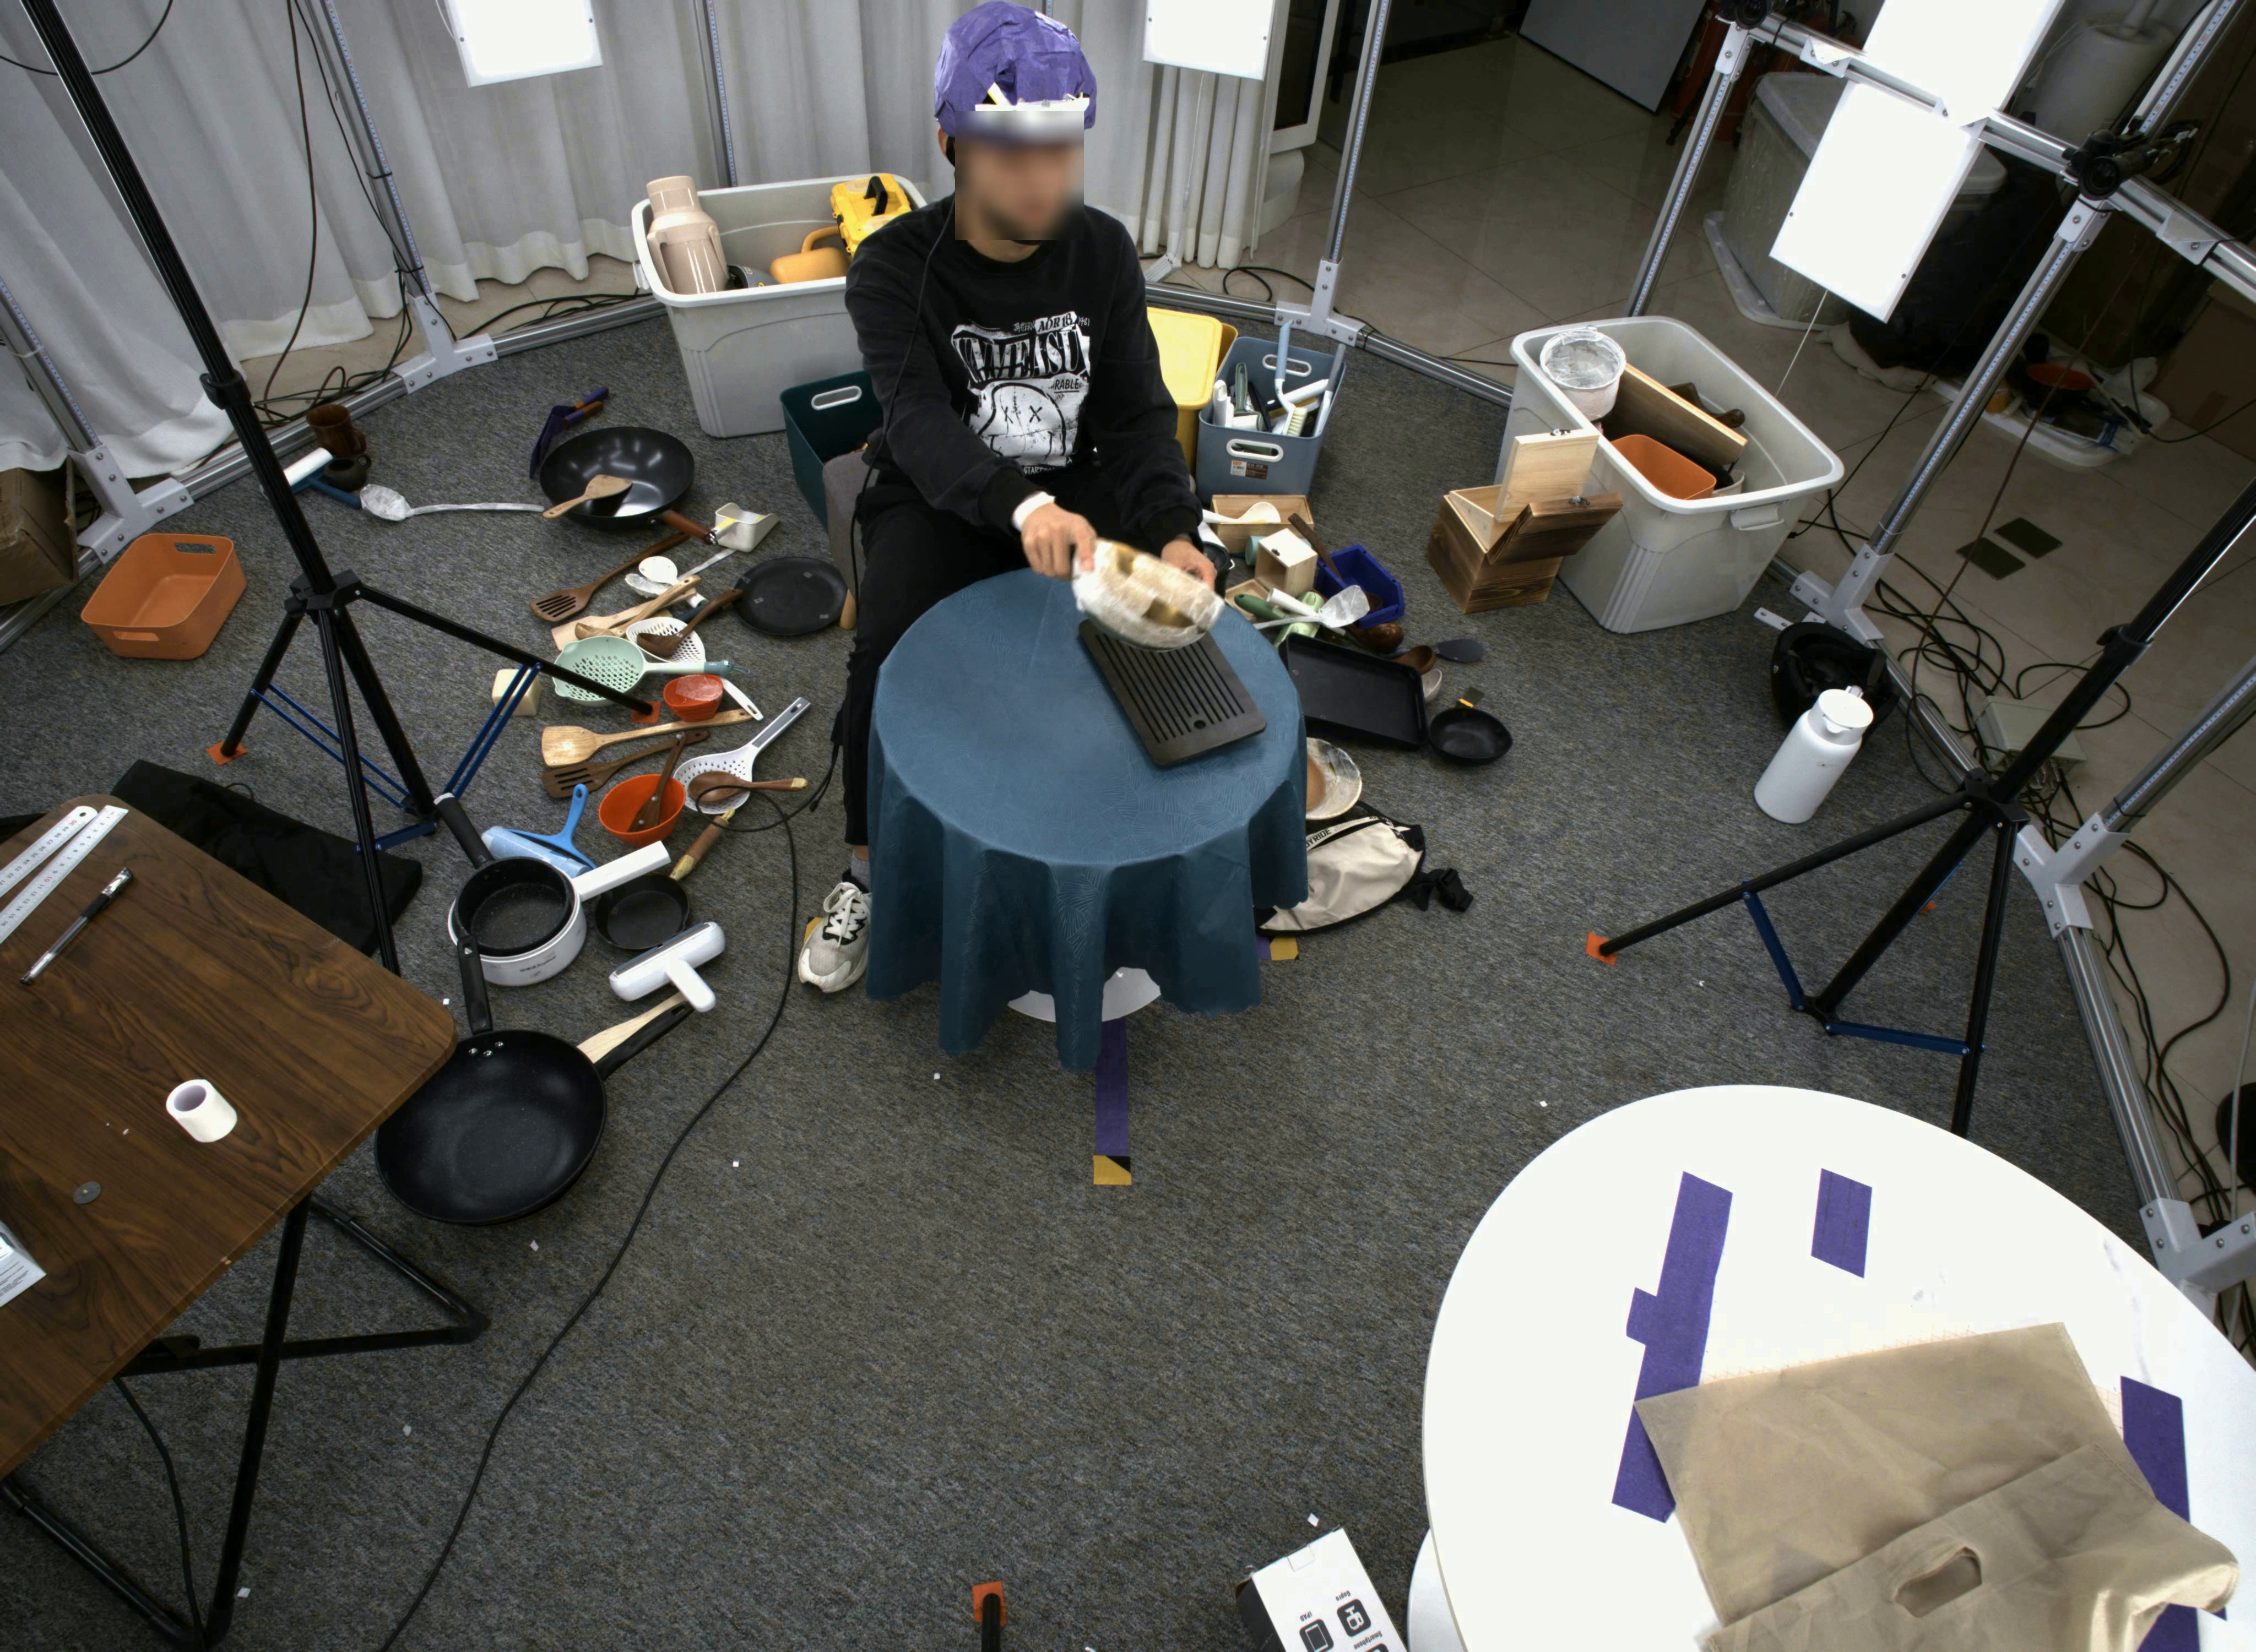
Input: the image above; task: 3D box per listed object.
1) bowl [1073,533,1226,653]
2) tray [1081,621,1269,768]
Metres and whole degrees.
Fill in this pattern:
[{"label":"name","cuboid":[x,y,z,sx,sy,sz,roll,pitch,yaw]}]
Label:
[{"label":"bowl","cuboid":[0.012,-0.276,1.616,0.216,0.212,0.095,24,87,15]},{"label":"tray","cuboid":[0.063,-0.214,1.851,0.170,0.018,0.313,-20,52,-11]}]
